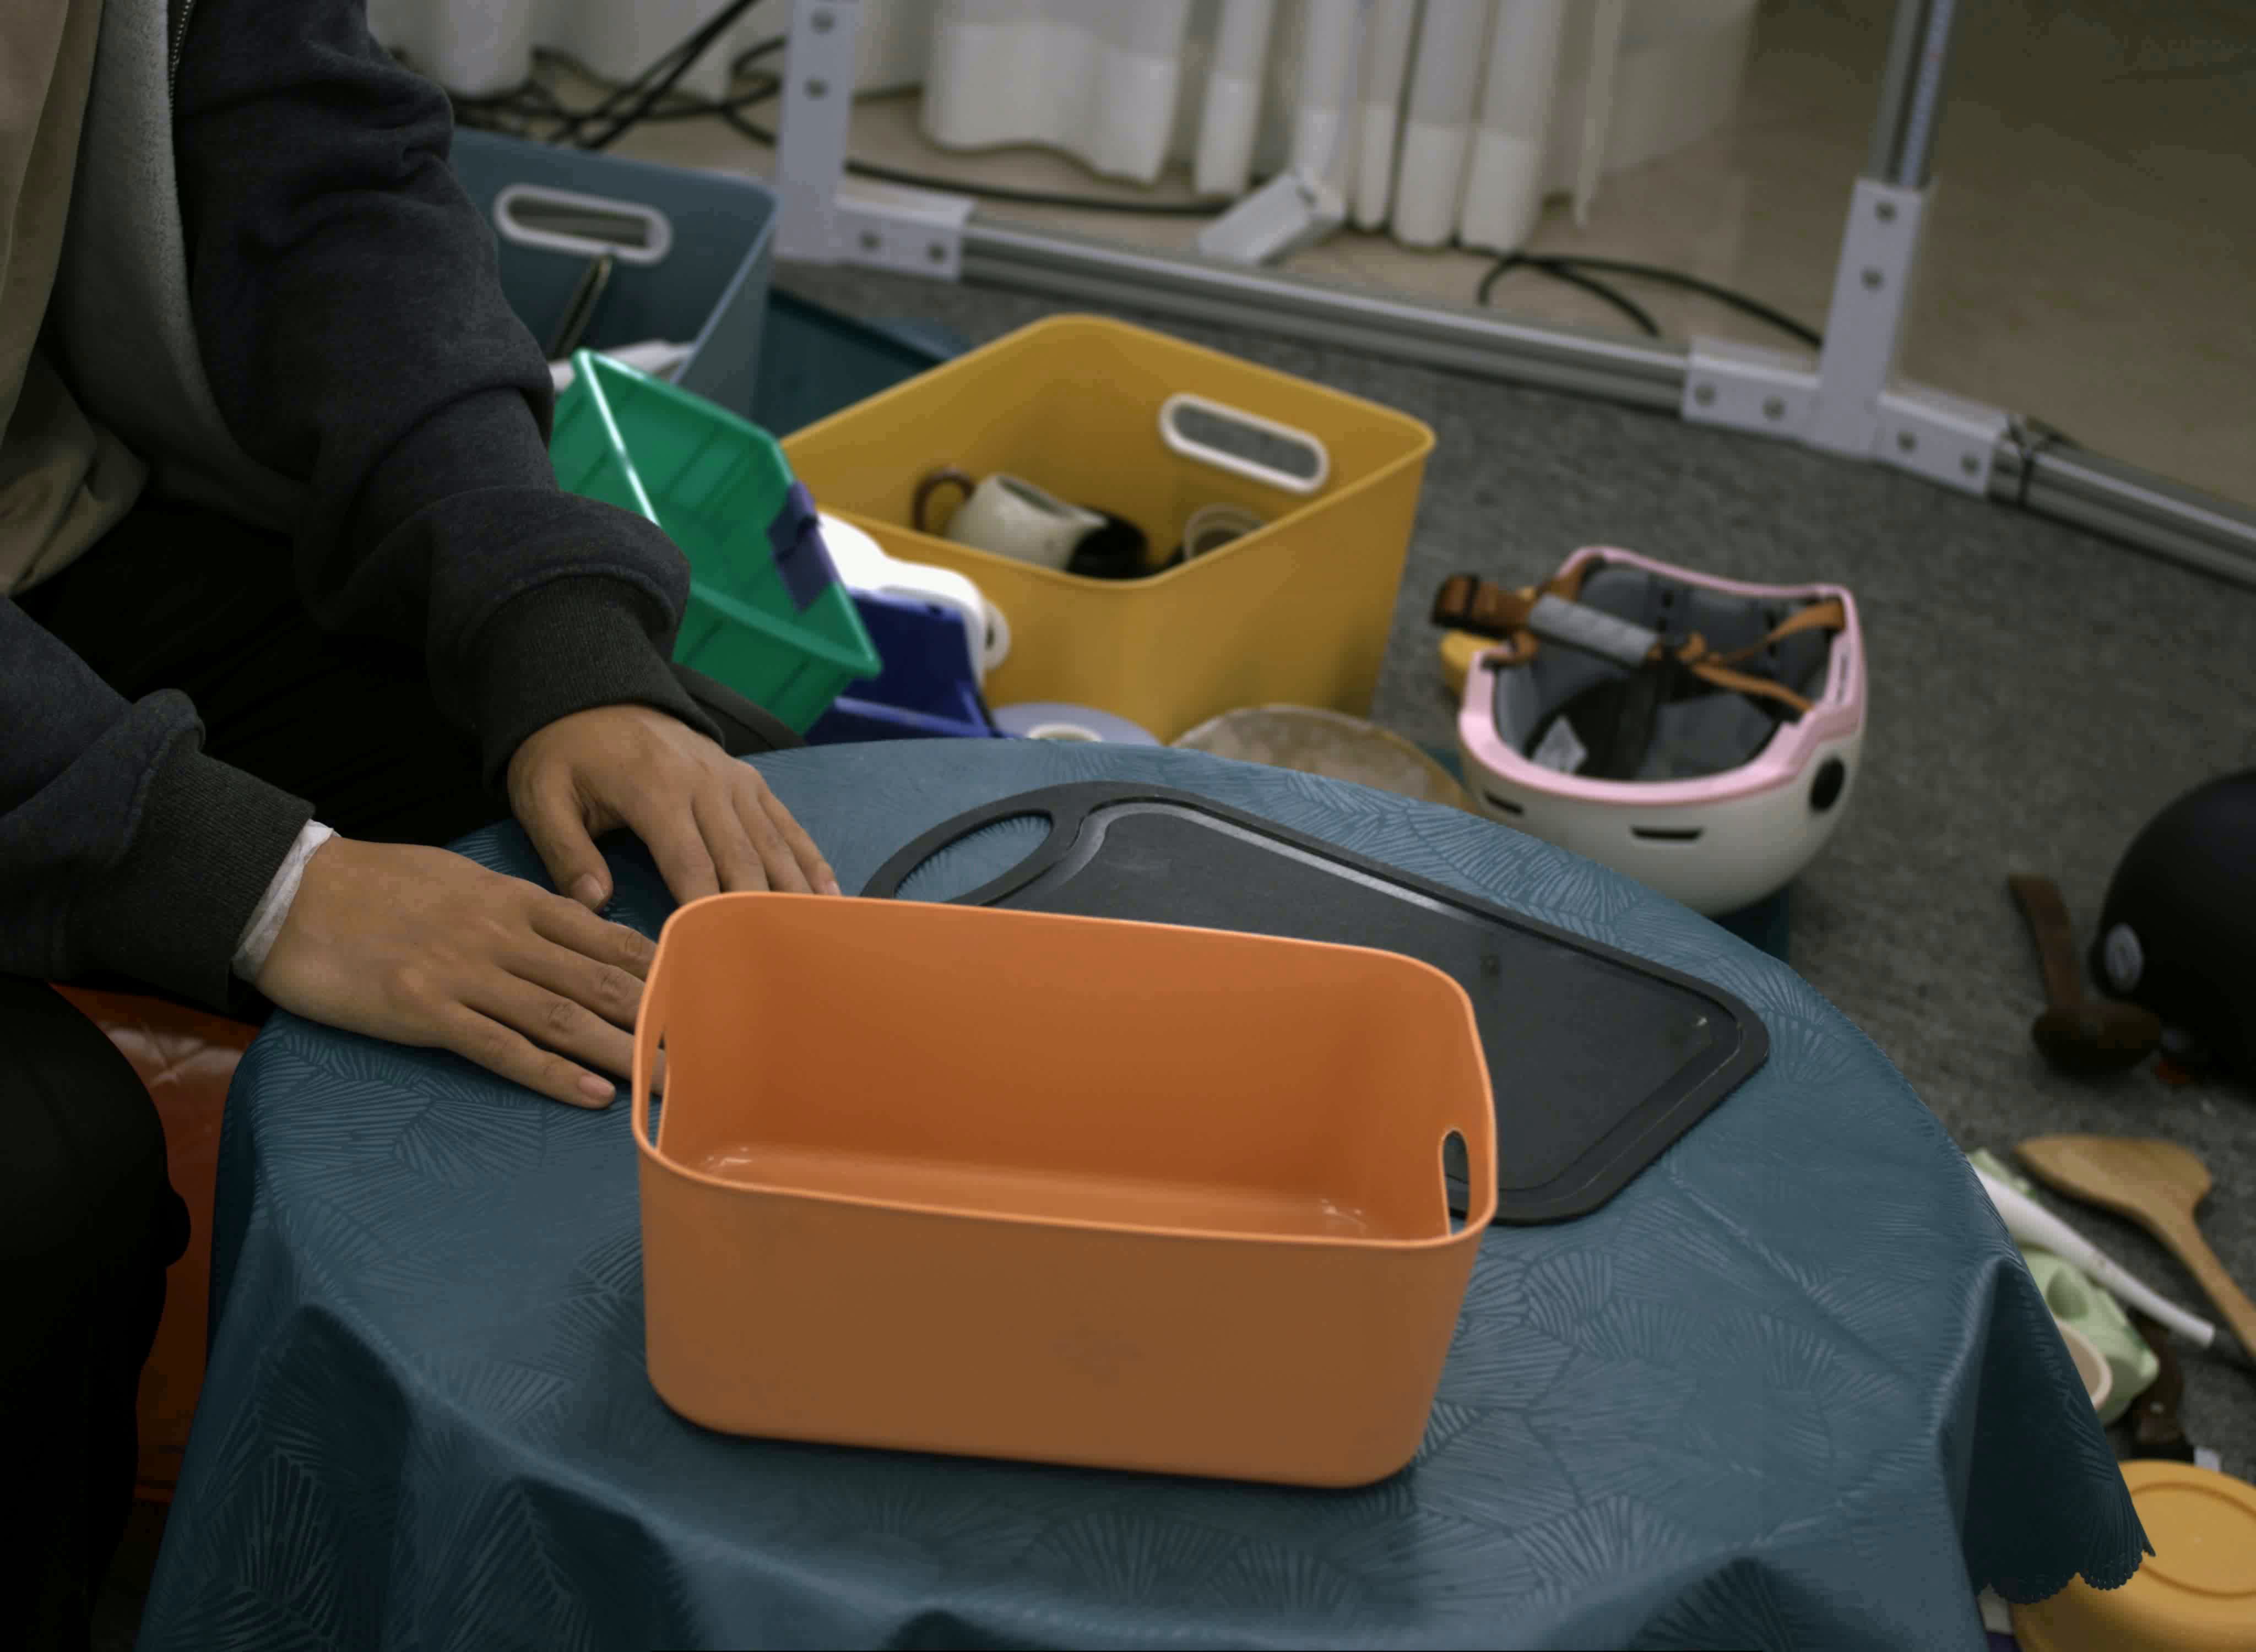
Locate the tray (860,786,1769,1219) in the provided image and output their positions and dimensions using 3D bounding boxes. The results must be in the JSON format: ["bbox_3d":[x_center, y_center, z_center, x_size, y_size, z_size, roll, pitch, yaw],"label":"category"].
[{"bbox_3d":[0.059,0.056,1.940,0.327,0.010,0.210,20,30,25],"label":"tray"}]

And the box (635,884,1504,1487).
[{"bbox_3d":[-0.024,0.115,1.697,0.272,0.102,0.200,6,27,-3],"label":"box"}]
